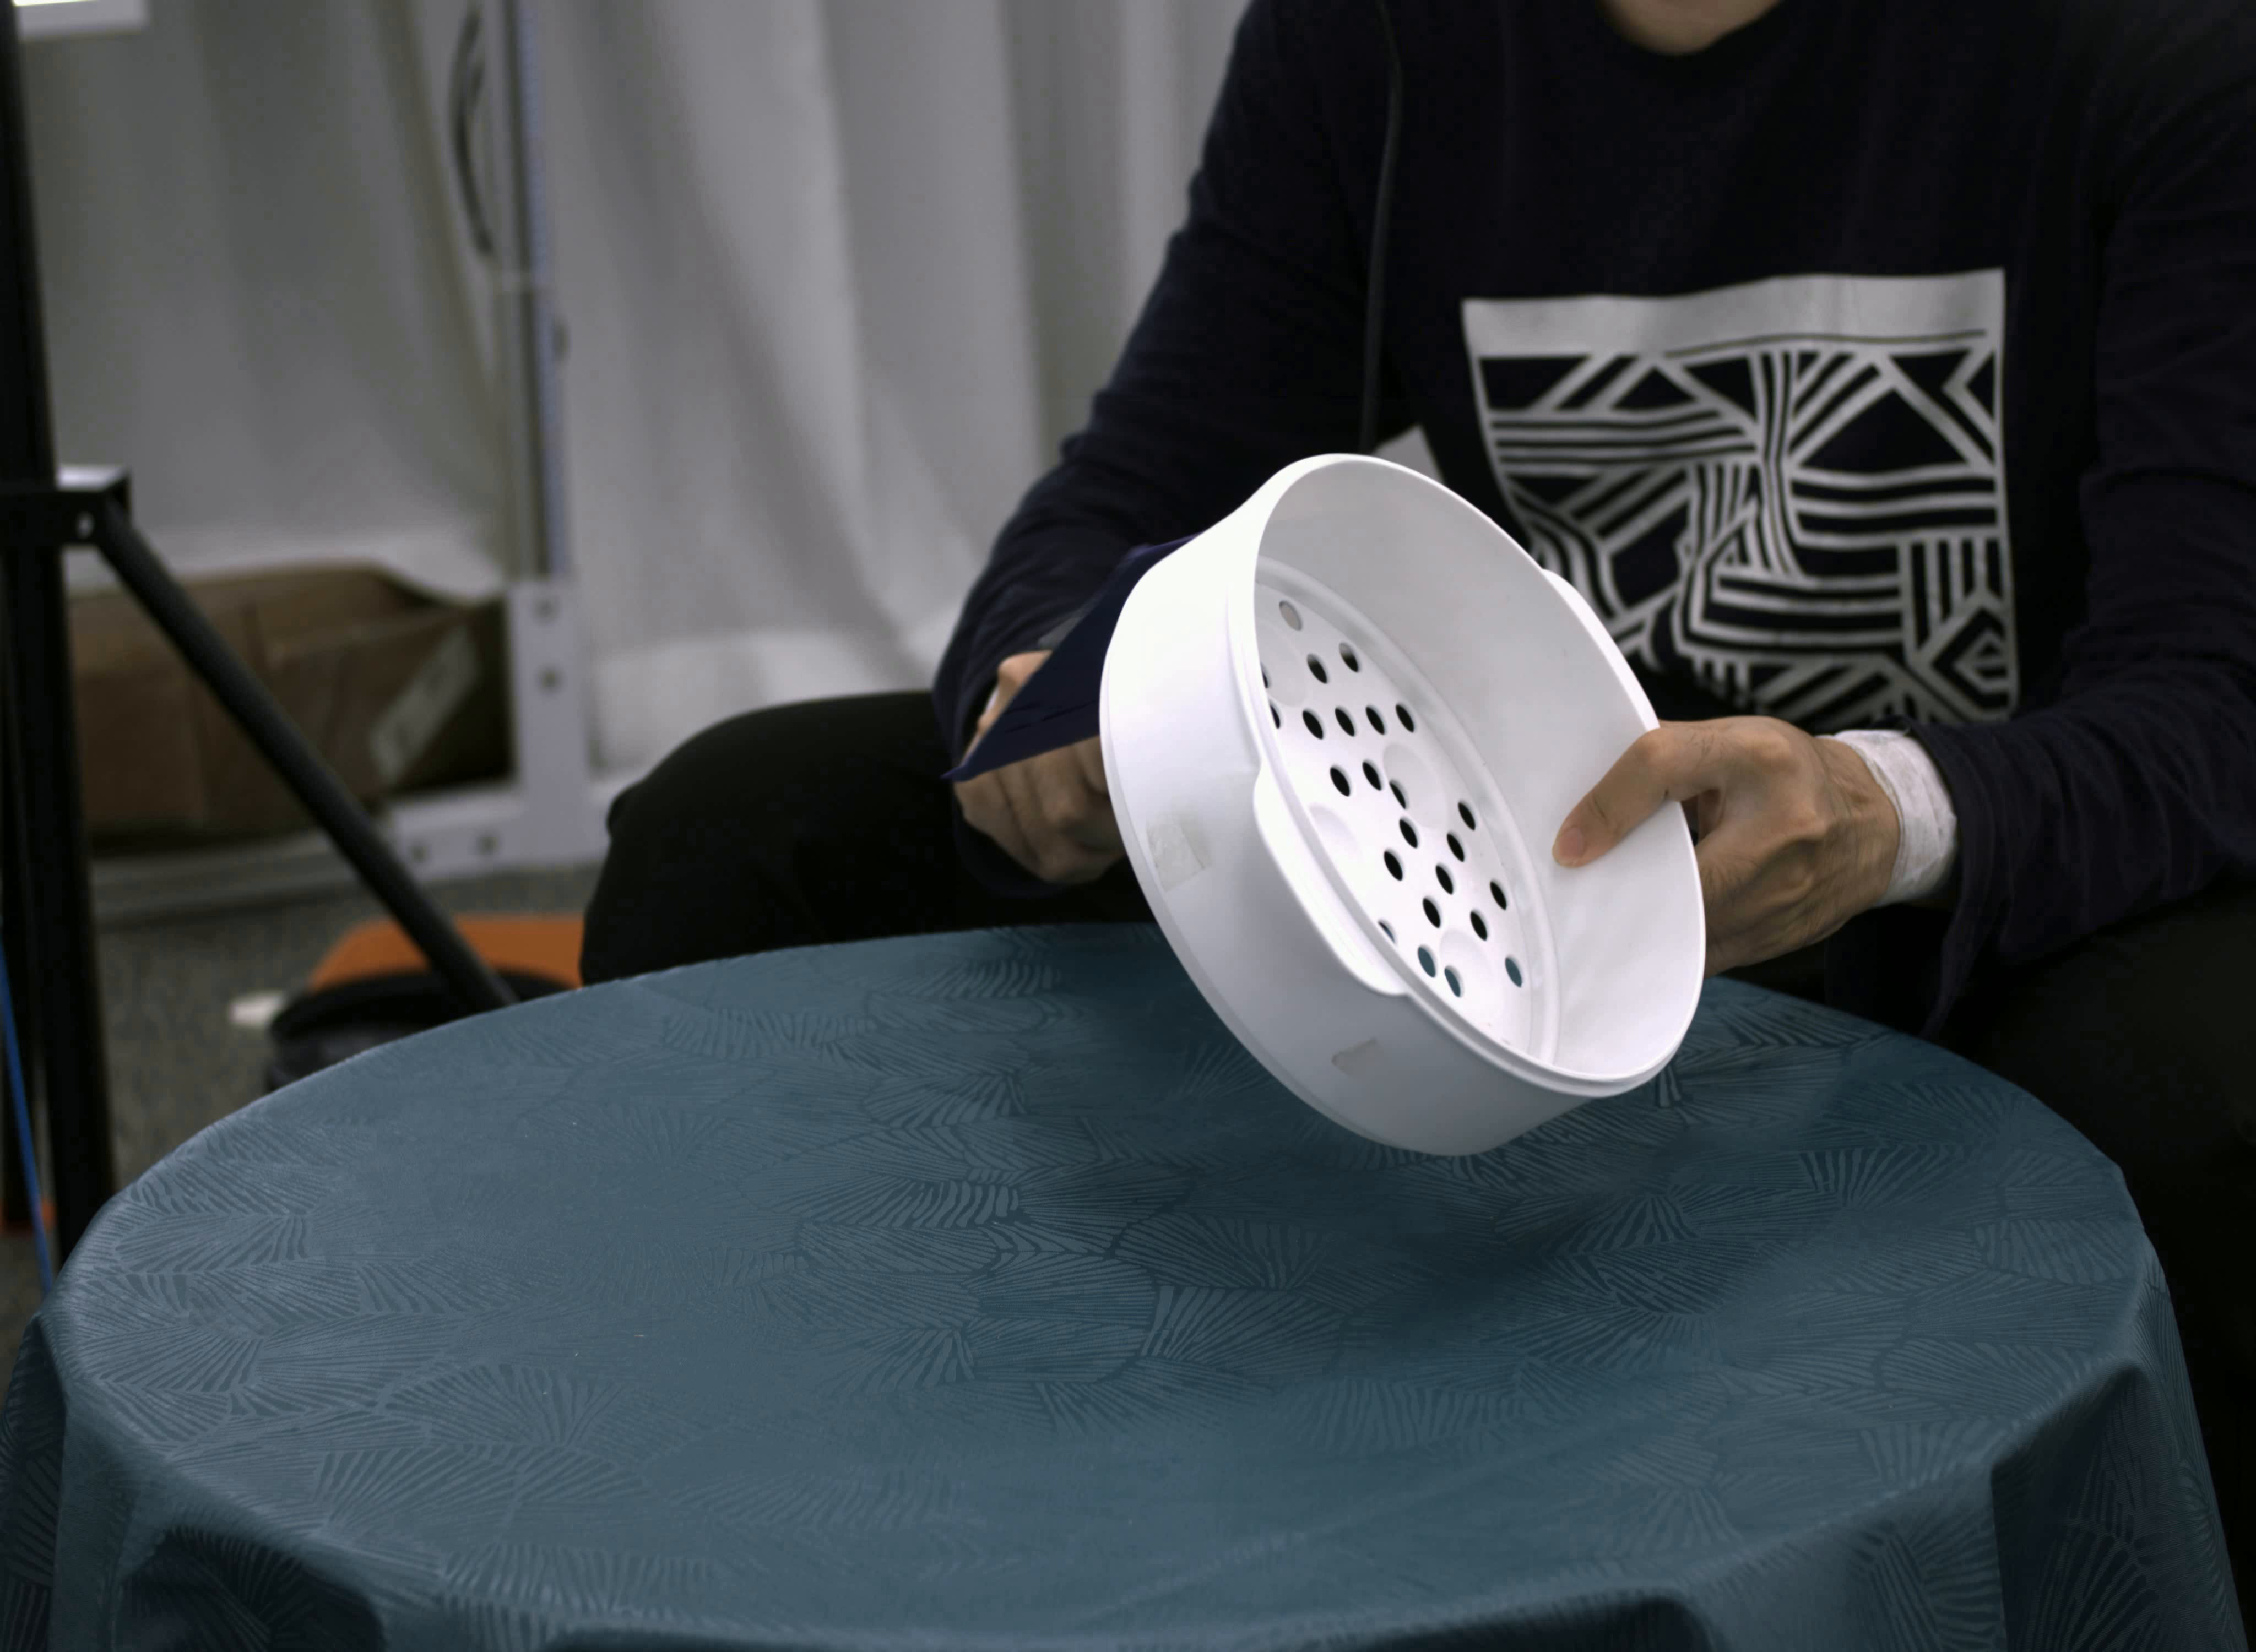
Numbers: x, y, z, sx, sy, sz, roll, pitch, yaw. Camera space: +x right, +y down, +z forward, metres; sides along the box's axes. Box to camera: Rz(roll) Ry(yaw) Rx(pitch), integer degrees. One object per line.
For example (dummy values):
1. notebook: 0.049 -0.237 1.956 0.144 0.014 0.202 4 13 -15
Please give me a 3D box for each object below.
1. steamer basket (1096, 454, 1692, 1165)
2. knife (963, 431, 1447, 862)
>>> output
1. steamer basket: 0.074 -0.002 1.500 0.070 0.202 0.227 -31 2 32
2. knife: 0.000 -0.048 1.676 0.102 0.032 0.317 -16 -15 -24
